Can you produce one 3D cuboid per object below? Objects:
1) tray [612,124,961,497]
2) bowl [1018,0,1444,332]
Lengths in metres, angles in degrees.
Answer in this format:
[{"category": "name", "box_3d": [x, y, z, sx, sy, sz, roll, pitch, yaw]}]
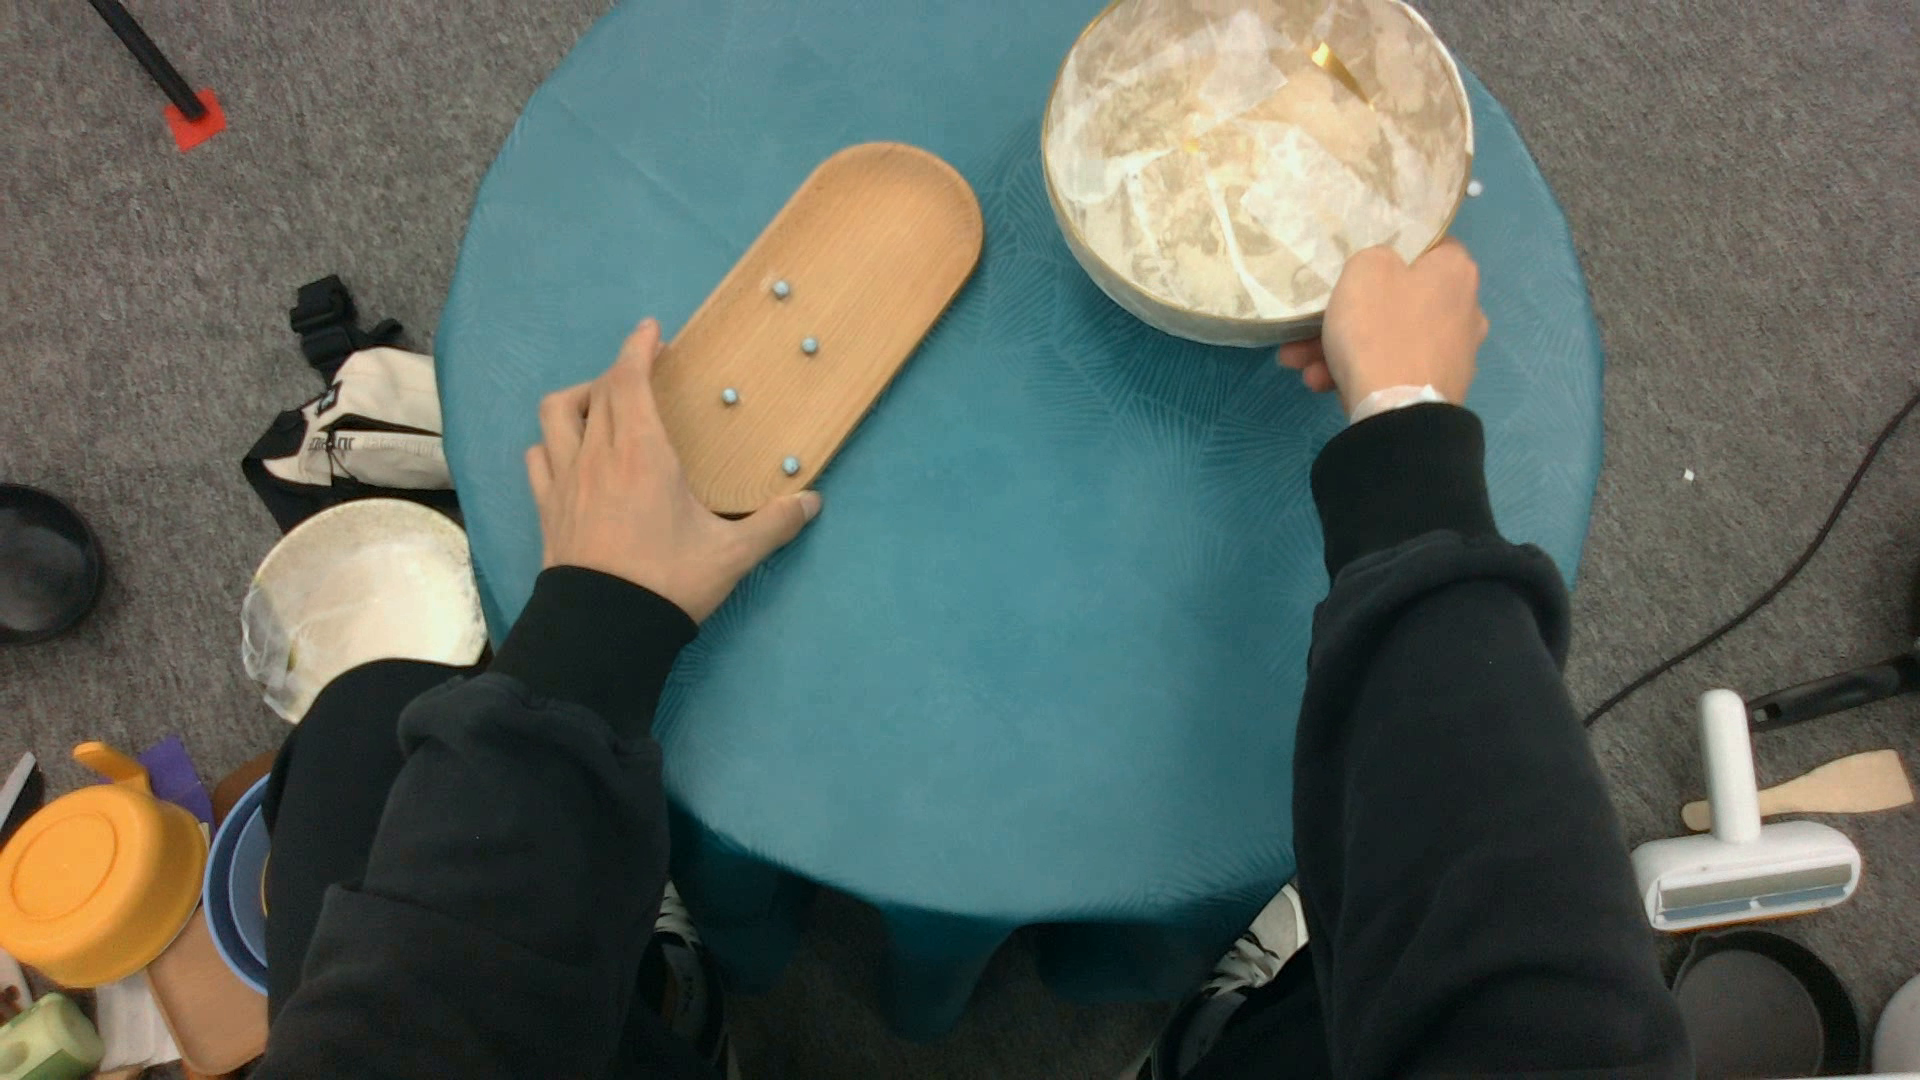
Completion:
[{"category": "tray", "box_3d": [-0.086, -0.120, 0.704, 0.101, 0.020, 0.232, 33, 71, 4]}, {"category": "bowl", "box_3d": [0.127, -0.187, 0.697, 0.215, 0.094, 0.215, 0, 73, 1]}]
